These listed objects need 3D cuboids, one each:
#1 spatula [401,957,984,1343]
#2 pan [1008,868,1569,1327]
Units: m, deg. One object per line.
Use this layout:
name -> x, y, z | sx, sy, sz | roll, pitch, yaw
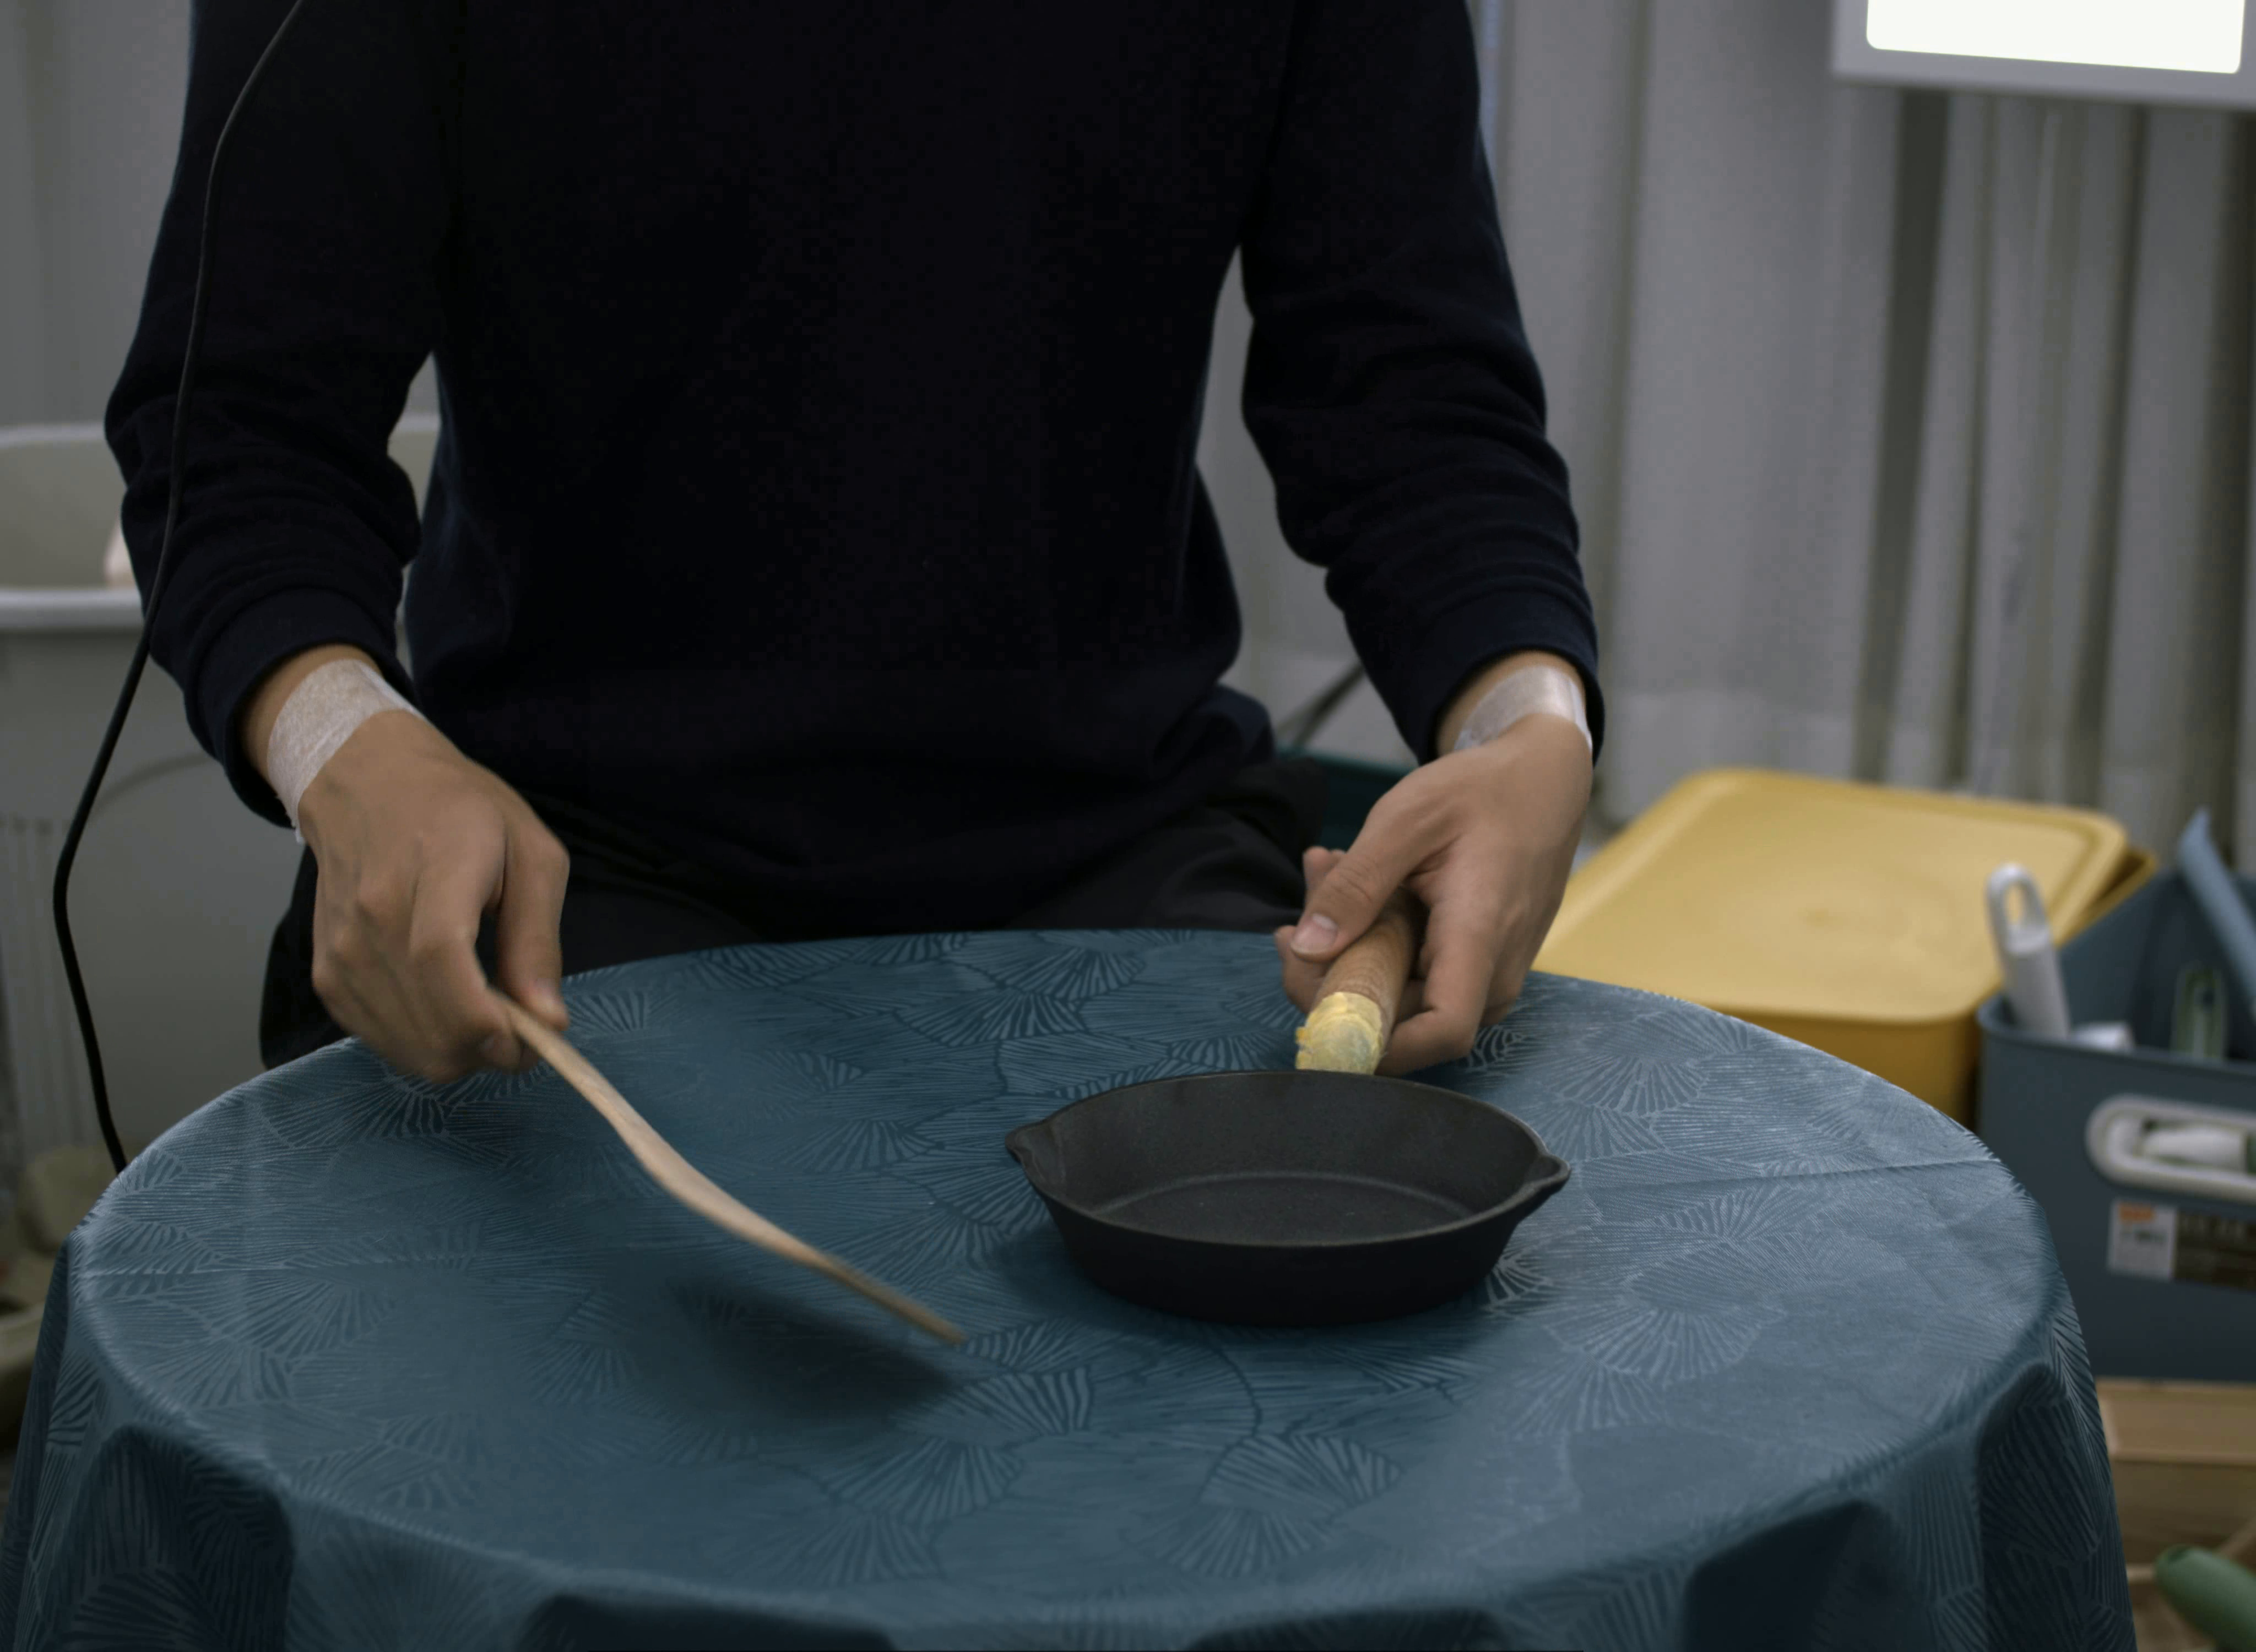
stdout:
spatula -> -0.142, 0.089, 1.563 | 0.081, 0.016, 0.323 | 35, -4, -35
pan -> 0.066, 0.081, 1.642 | 0.168, 0.050, 0.323 | 4, 18, 12
